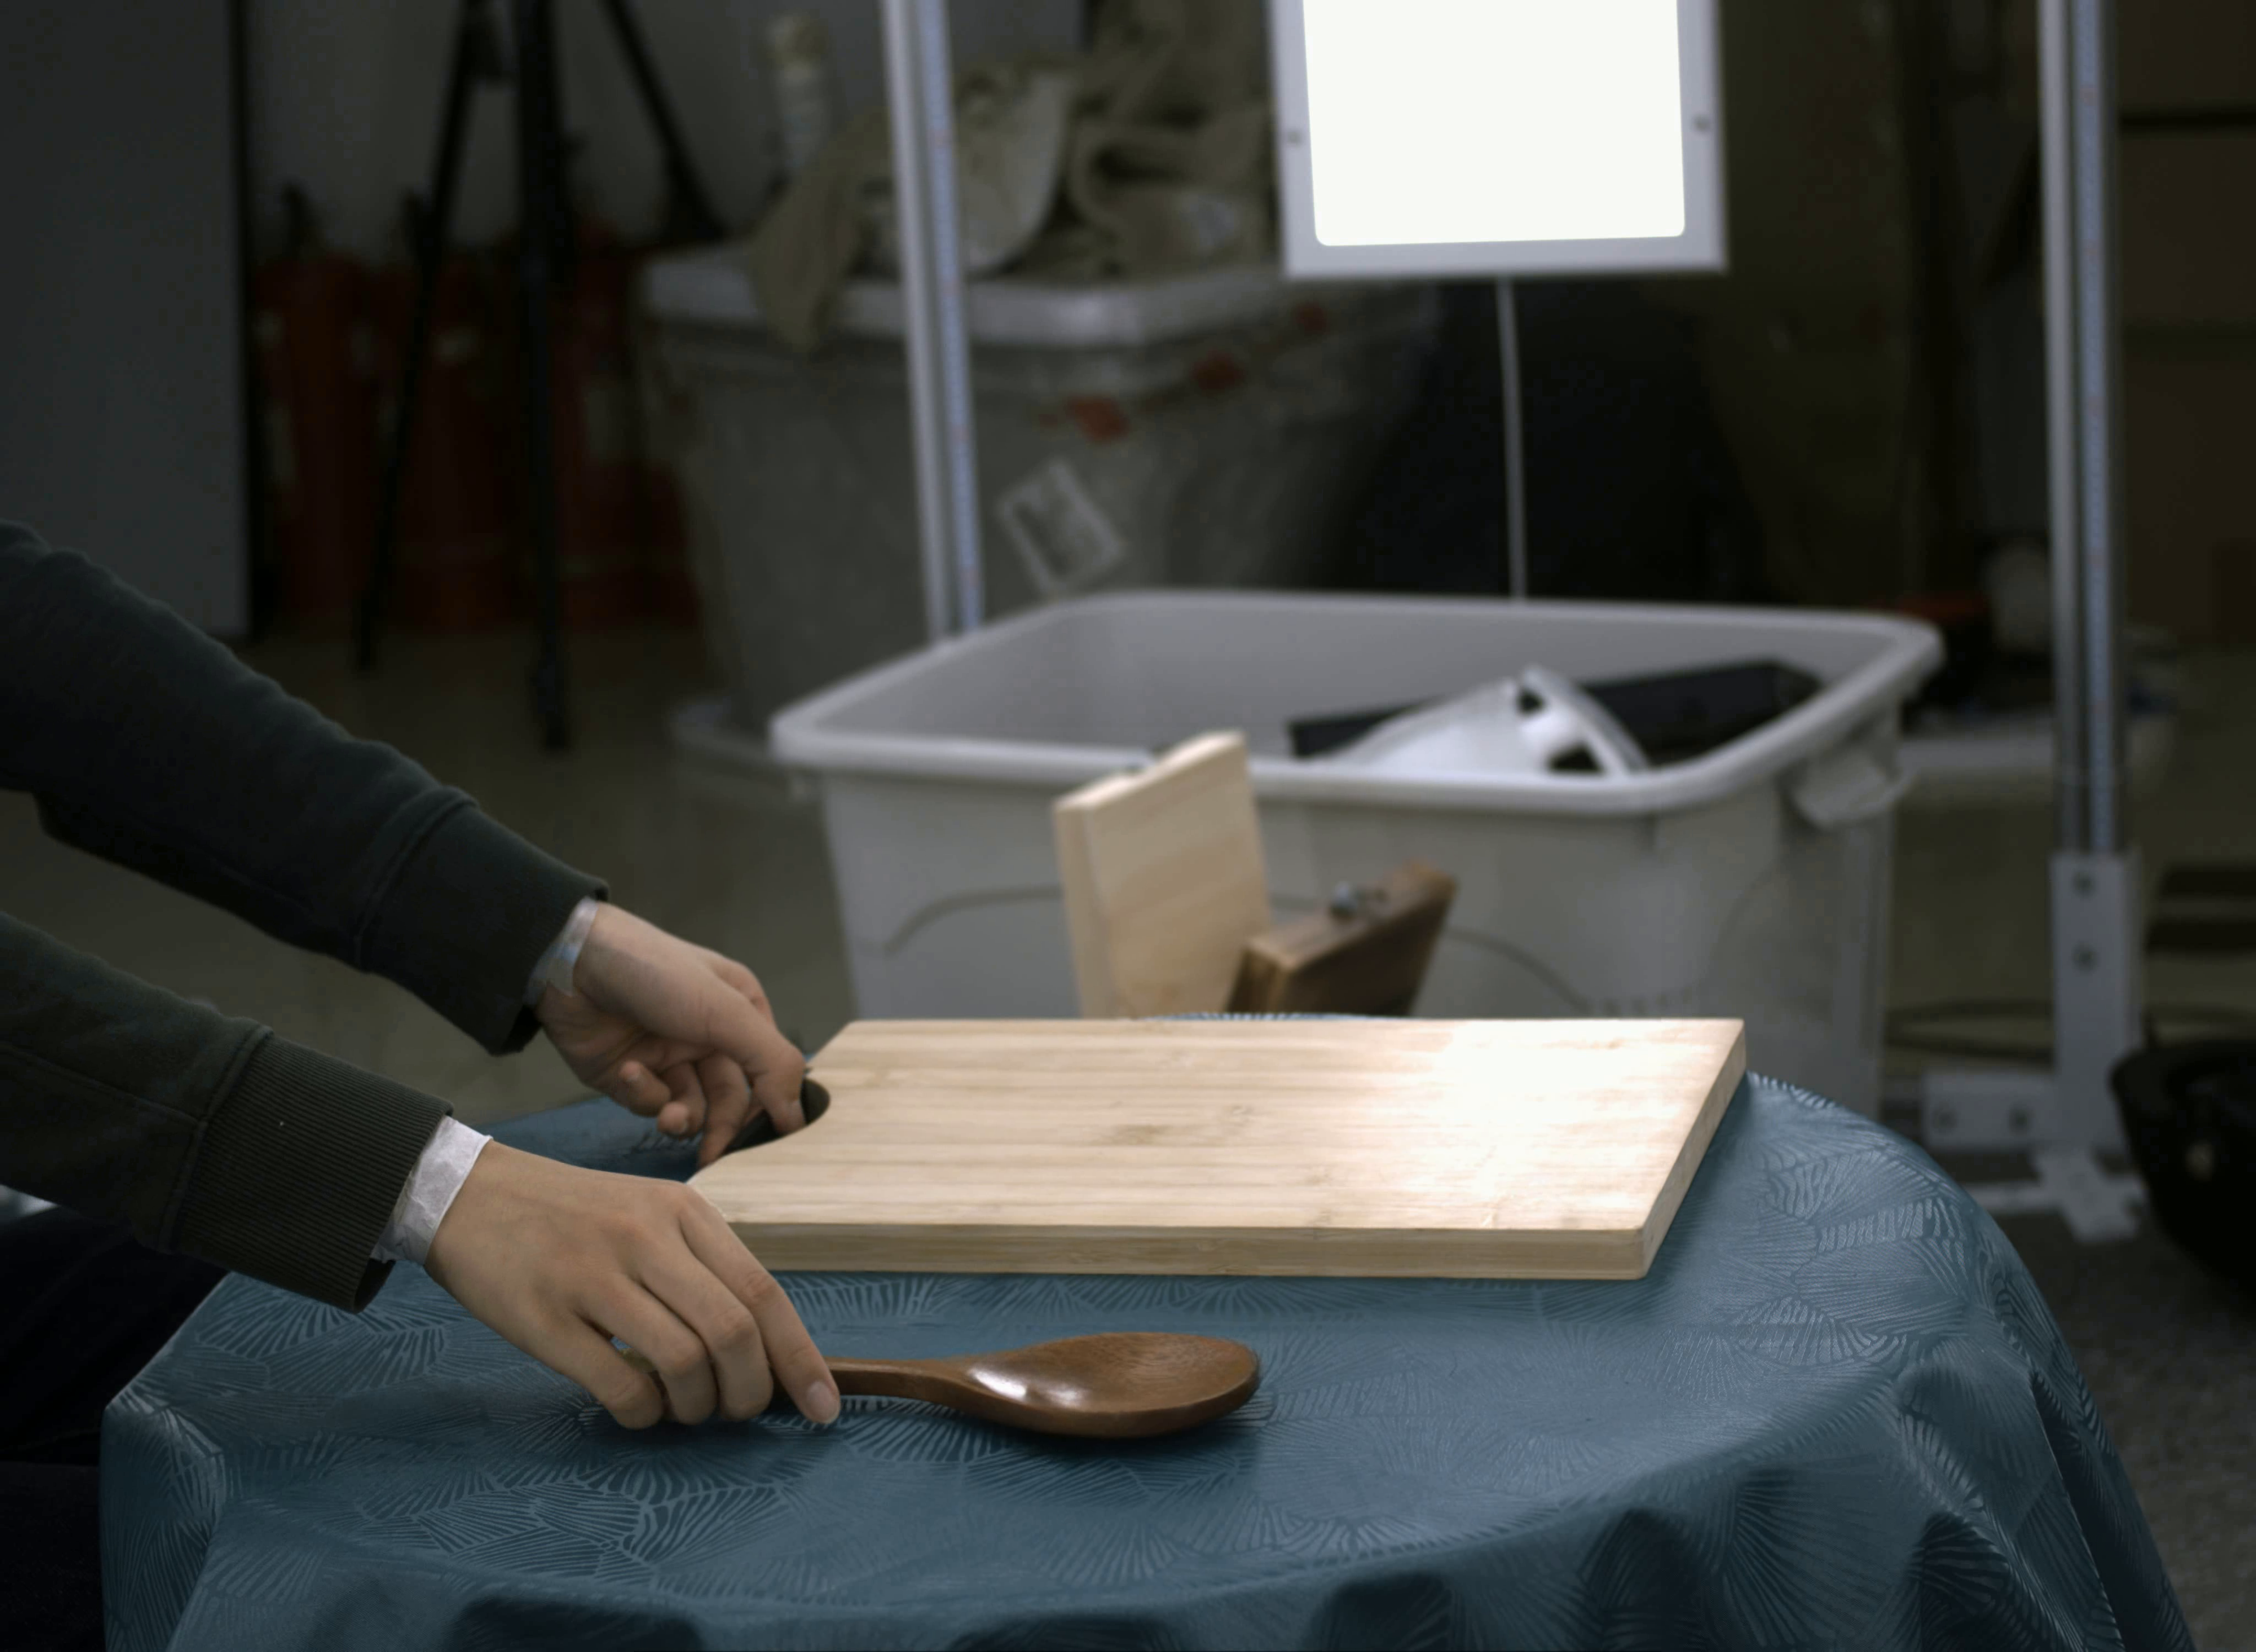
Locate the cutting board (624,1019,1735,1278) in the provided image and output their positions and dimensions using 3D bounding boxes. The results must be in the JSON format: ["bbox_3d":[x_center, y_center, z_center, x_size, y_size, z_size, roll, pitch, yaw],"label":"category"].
[{"bbox_3d":[0.025,0.110,1.922,0.352,0.023,0.247,-1,14,16],"label":"cutting board"}]

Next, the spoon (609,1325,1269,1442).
[{"bbox_3d":[-0.060,0.171,1.700,0.219,0.017,0.074,1,17,21],"label":"spoon"}]
